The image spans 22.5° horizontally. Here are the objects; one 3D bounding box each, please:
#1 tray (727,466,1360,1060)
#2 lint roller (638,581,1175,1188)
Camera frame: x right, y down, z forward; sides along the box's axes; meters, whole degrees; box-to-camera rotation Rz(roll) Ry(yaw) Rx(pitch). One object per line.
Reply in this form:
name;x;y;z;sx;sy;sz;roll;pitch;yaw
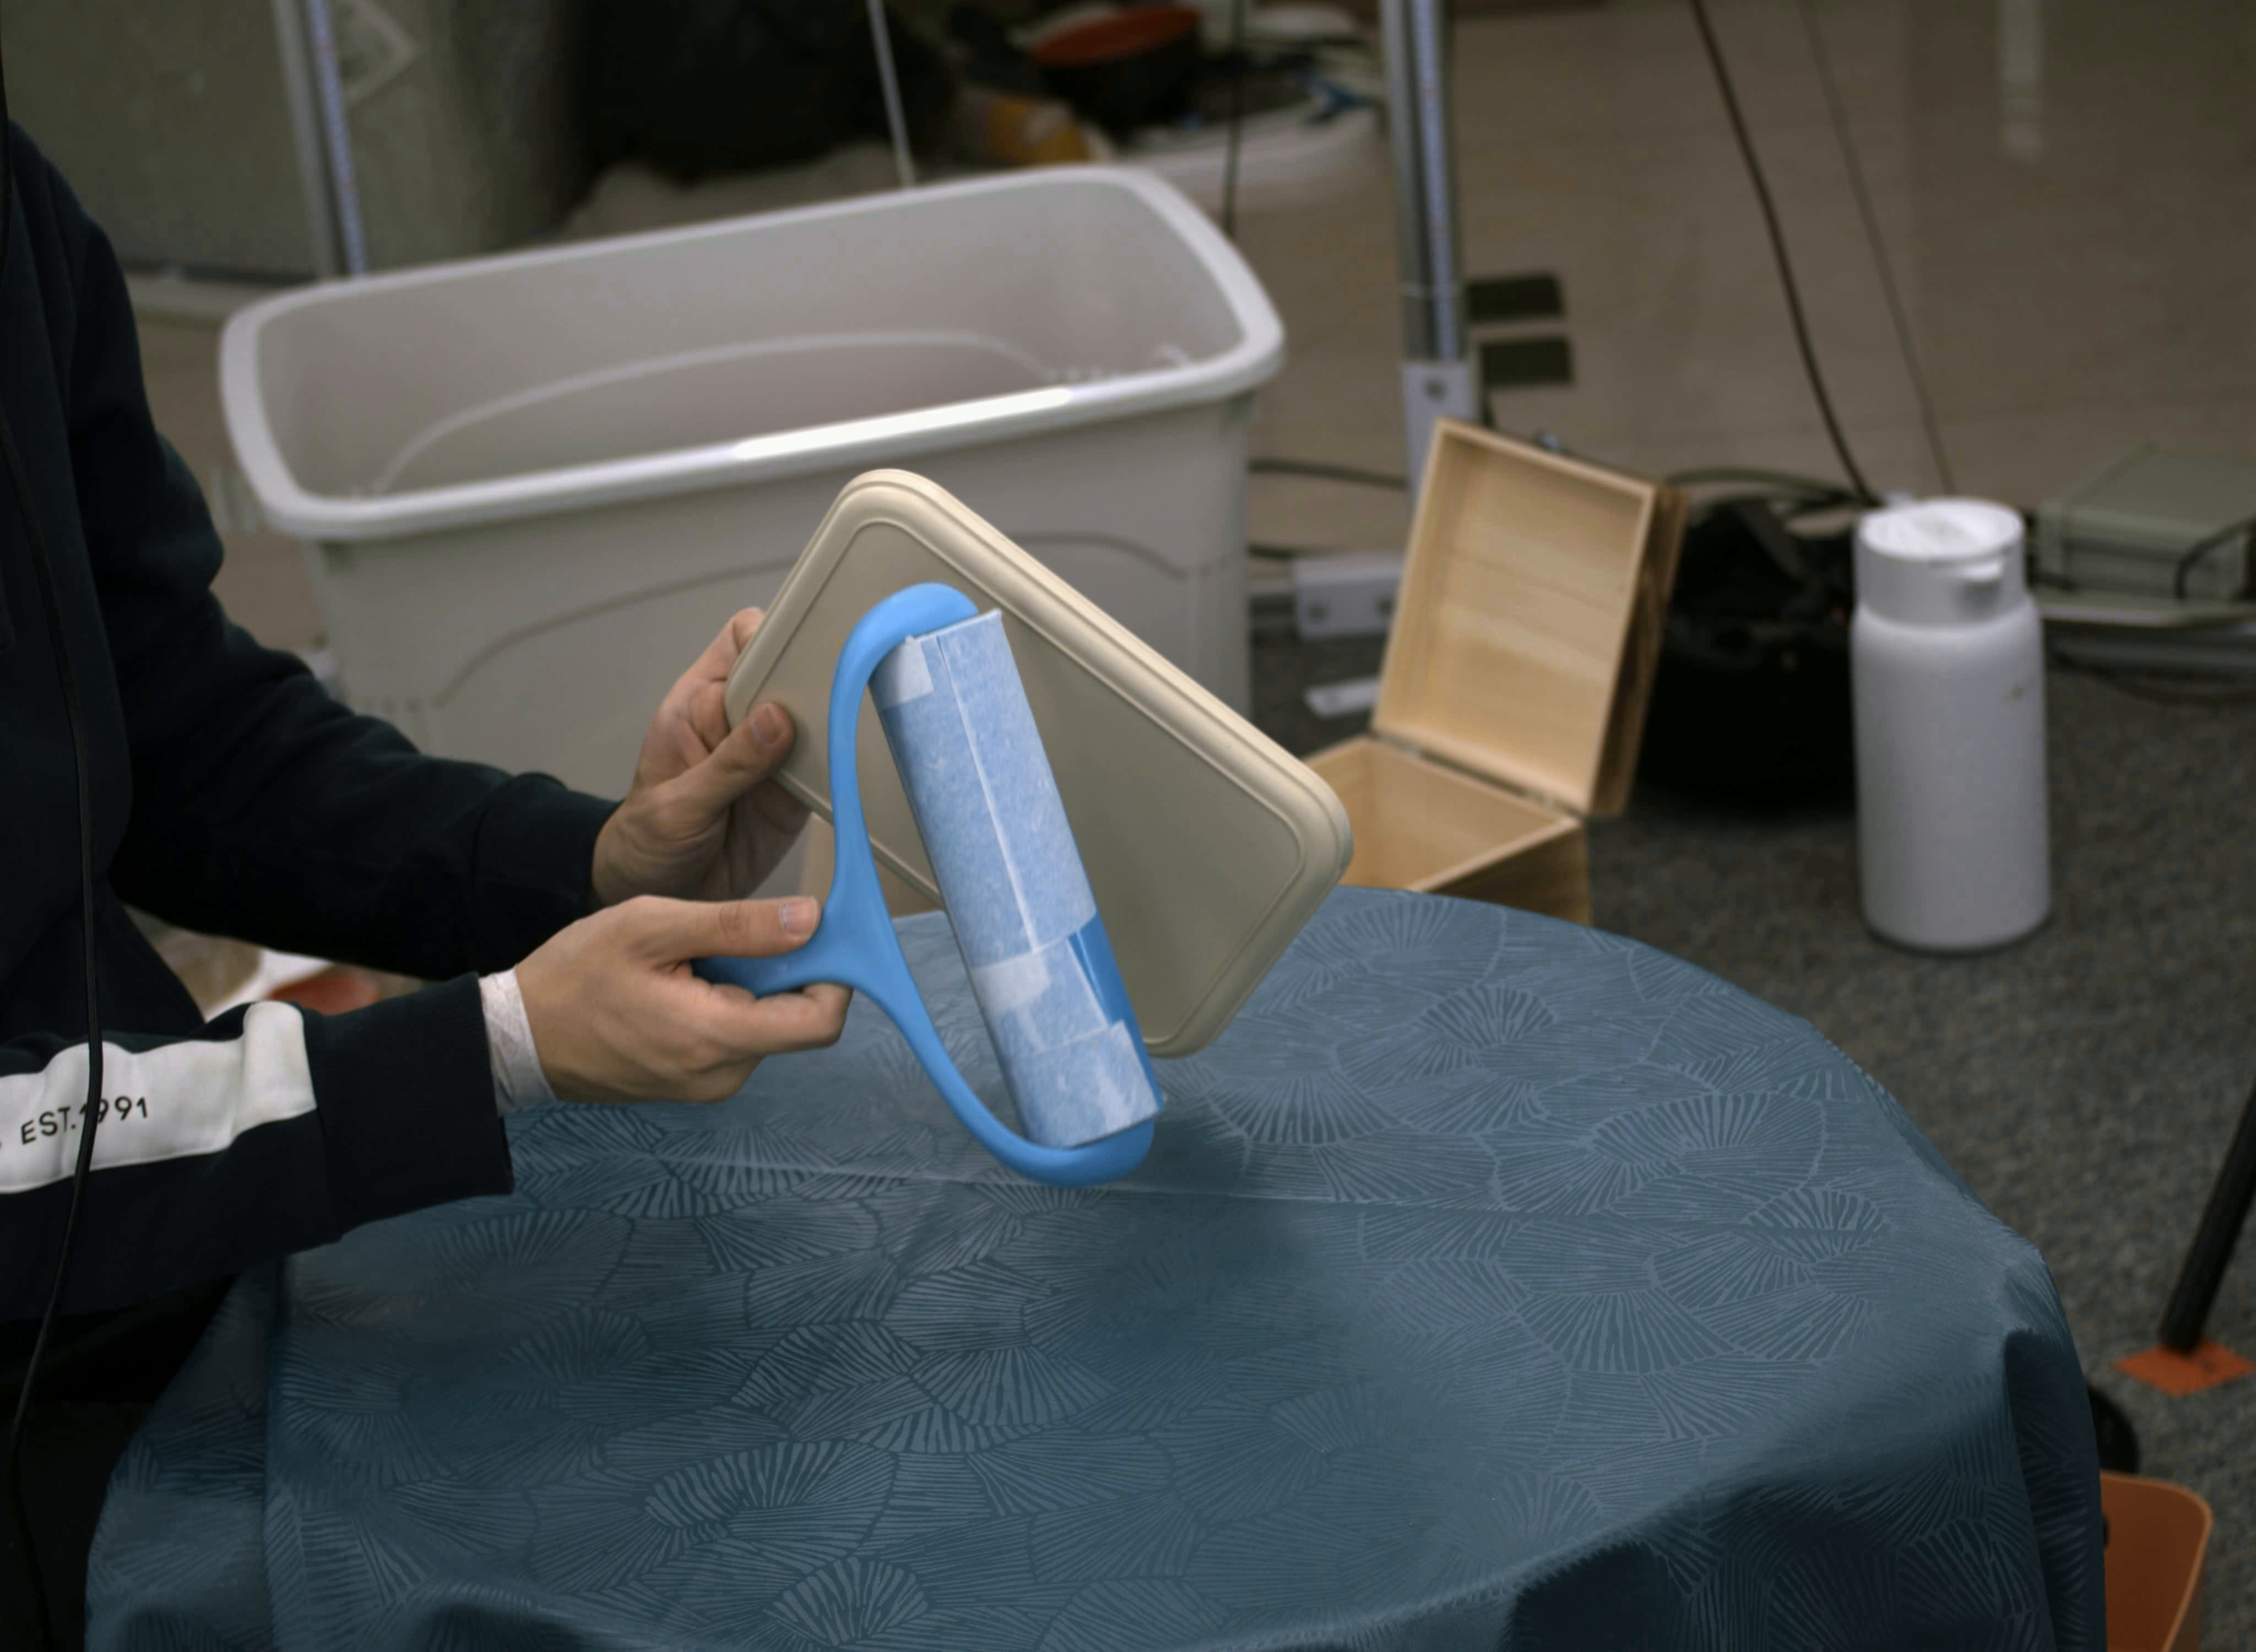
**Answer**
tray;-0.037;-0.019;2.158;0.239;0.174;0.017;37;43;1
lint roller;-0.095;0.043;2.058;0.180;0.230;0.067;-21;5;4
